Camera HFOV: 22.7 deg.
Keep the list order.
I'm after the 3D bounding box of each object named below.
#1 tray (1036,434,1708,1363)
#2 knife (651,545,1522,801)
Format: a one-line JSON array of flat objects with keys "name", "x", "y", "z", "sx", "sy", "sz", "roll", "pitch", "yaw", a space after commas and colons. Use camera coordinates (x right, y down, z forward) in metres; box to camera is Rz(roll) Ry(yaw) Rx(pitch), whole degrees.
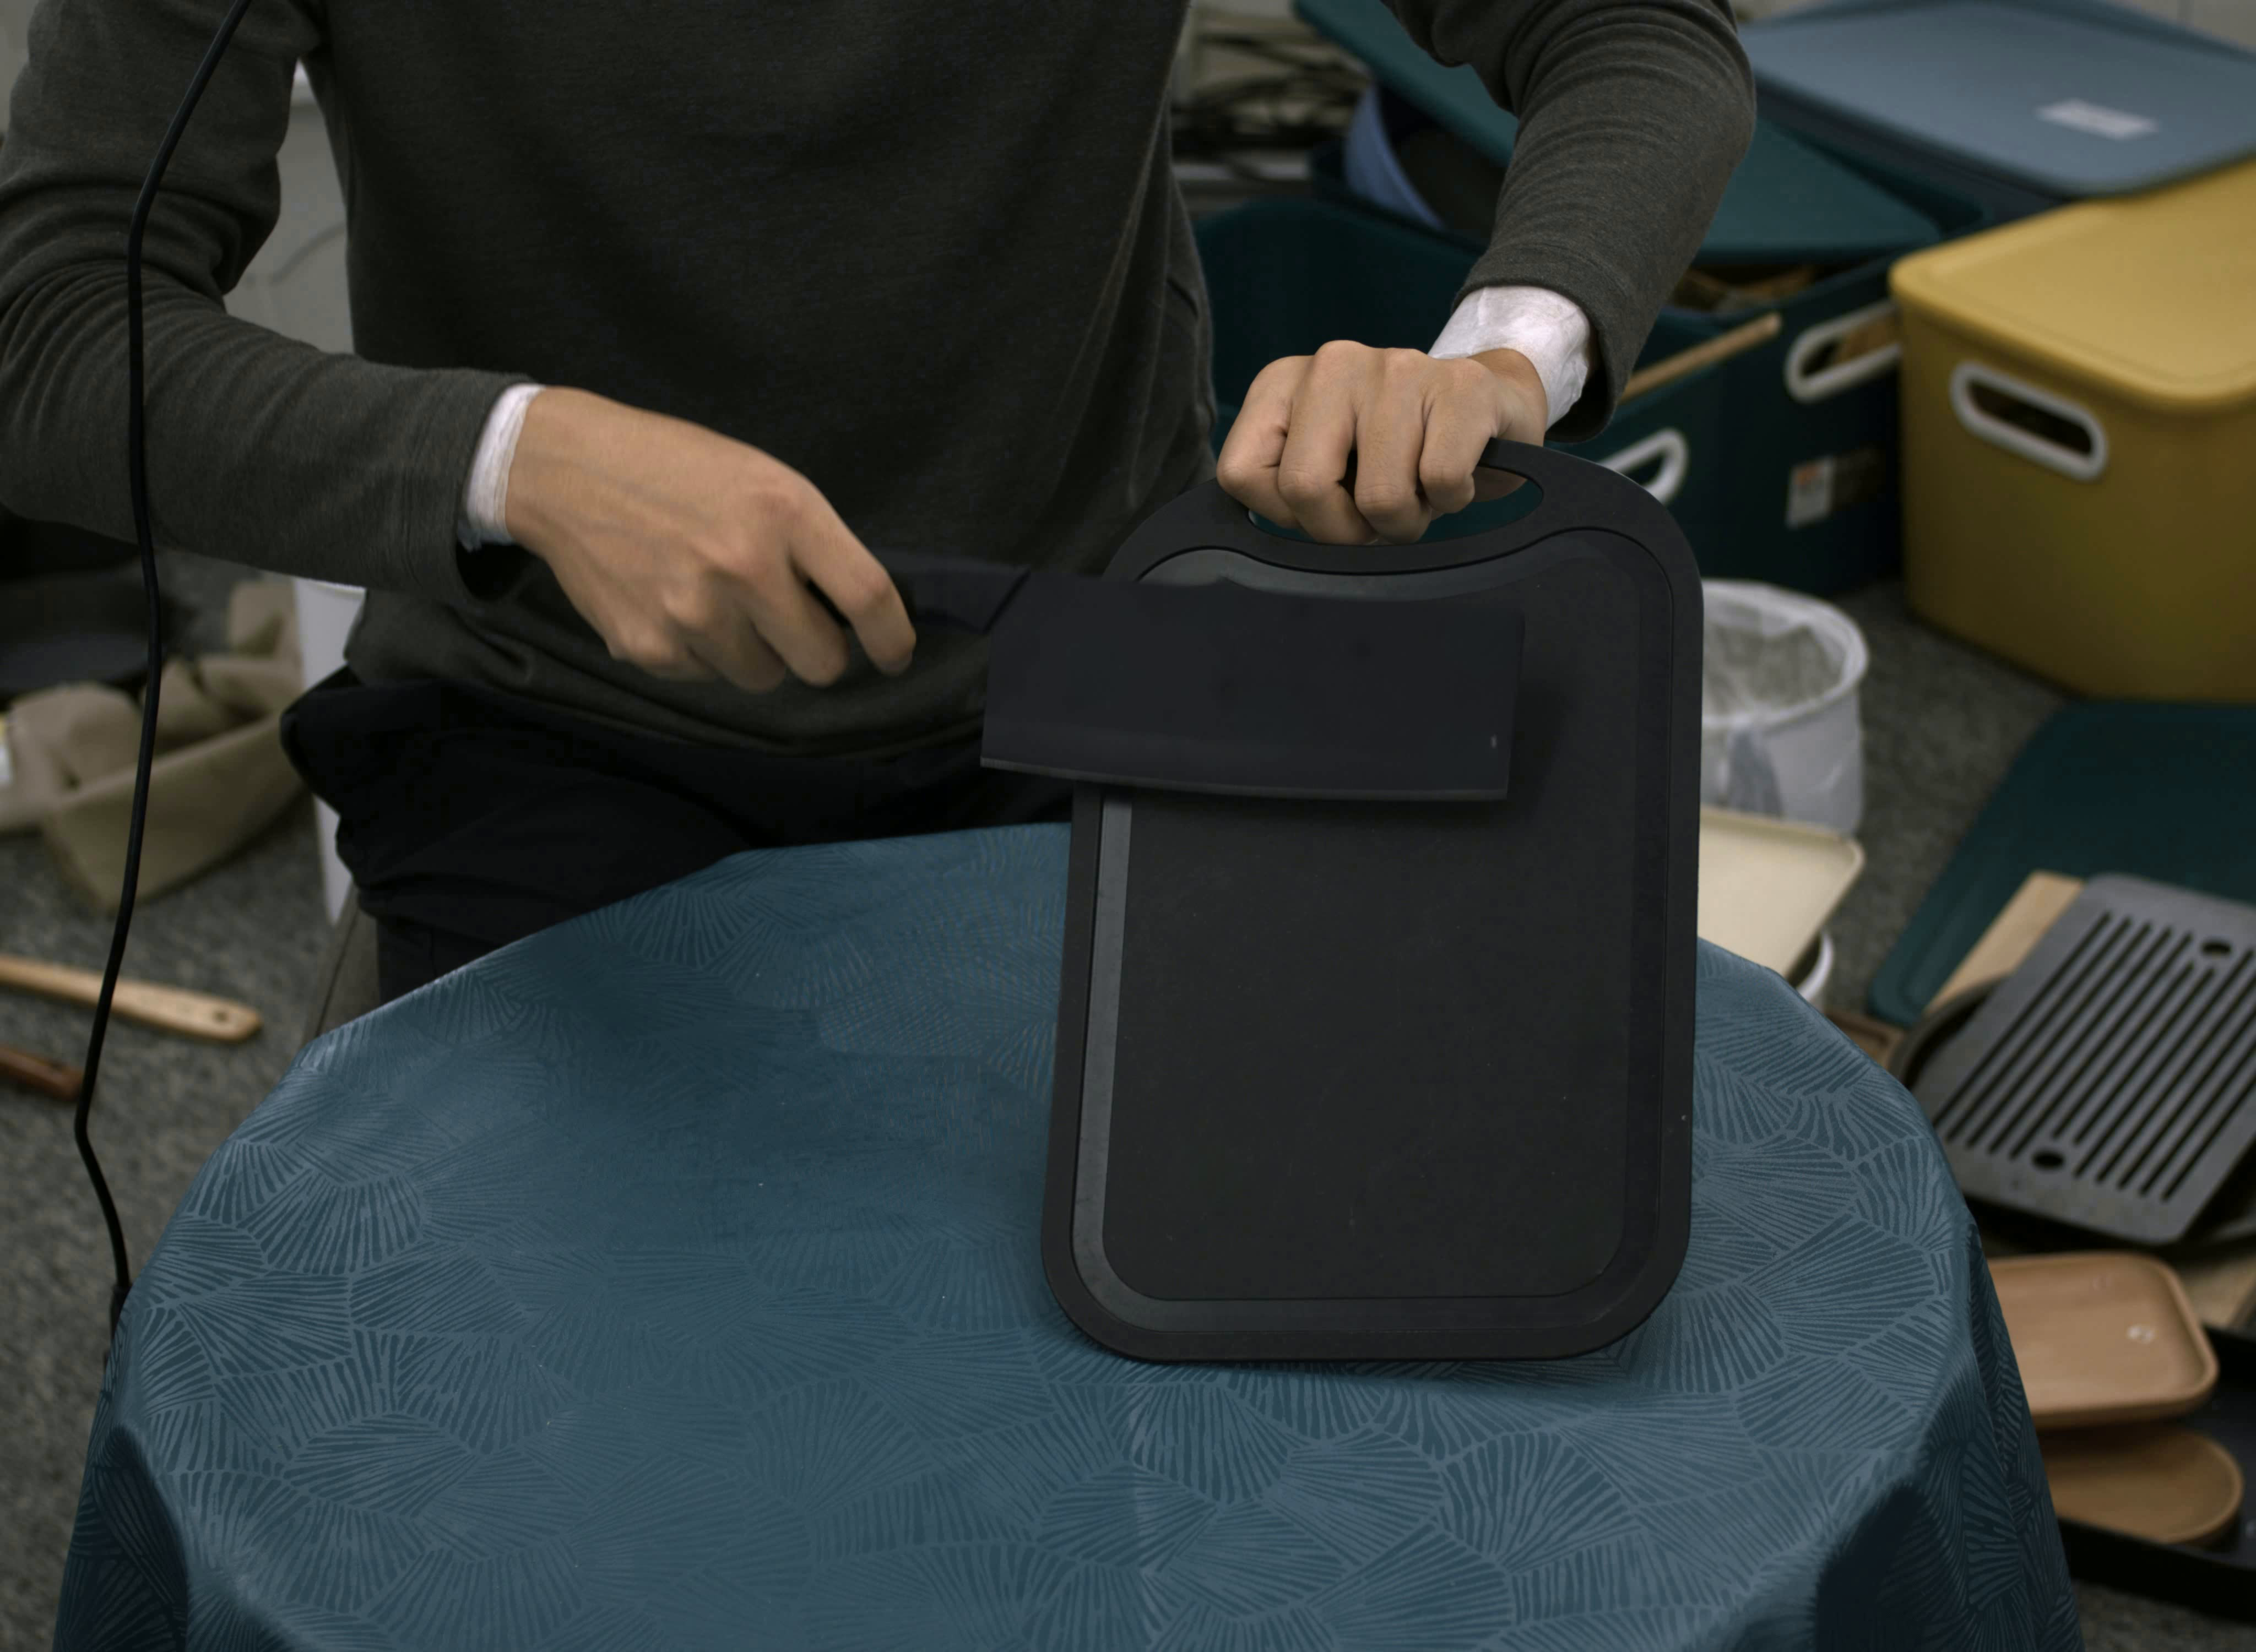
[{"name": "tray", "x": 0.080, "y": 0.018, "z": 1.823, "sx": 0.209, "sy": 0.009, "sz": 0.331, "roll": -1, "pitch": 65, "yaw": 13}, {"name": "knife", "x": -0.016, "y": -0.053, "z": 1.855, "sx": 0.300, "sy": 0.081, "sz": 0.021, "roll": 10, "pitch": -5, "yaw": 17}]
